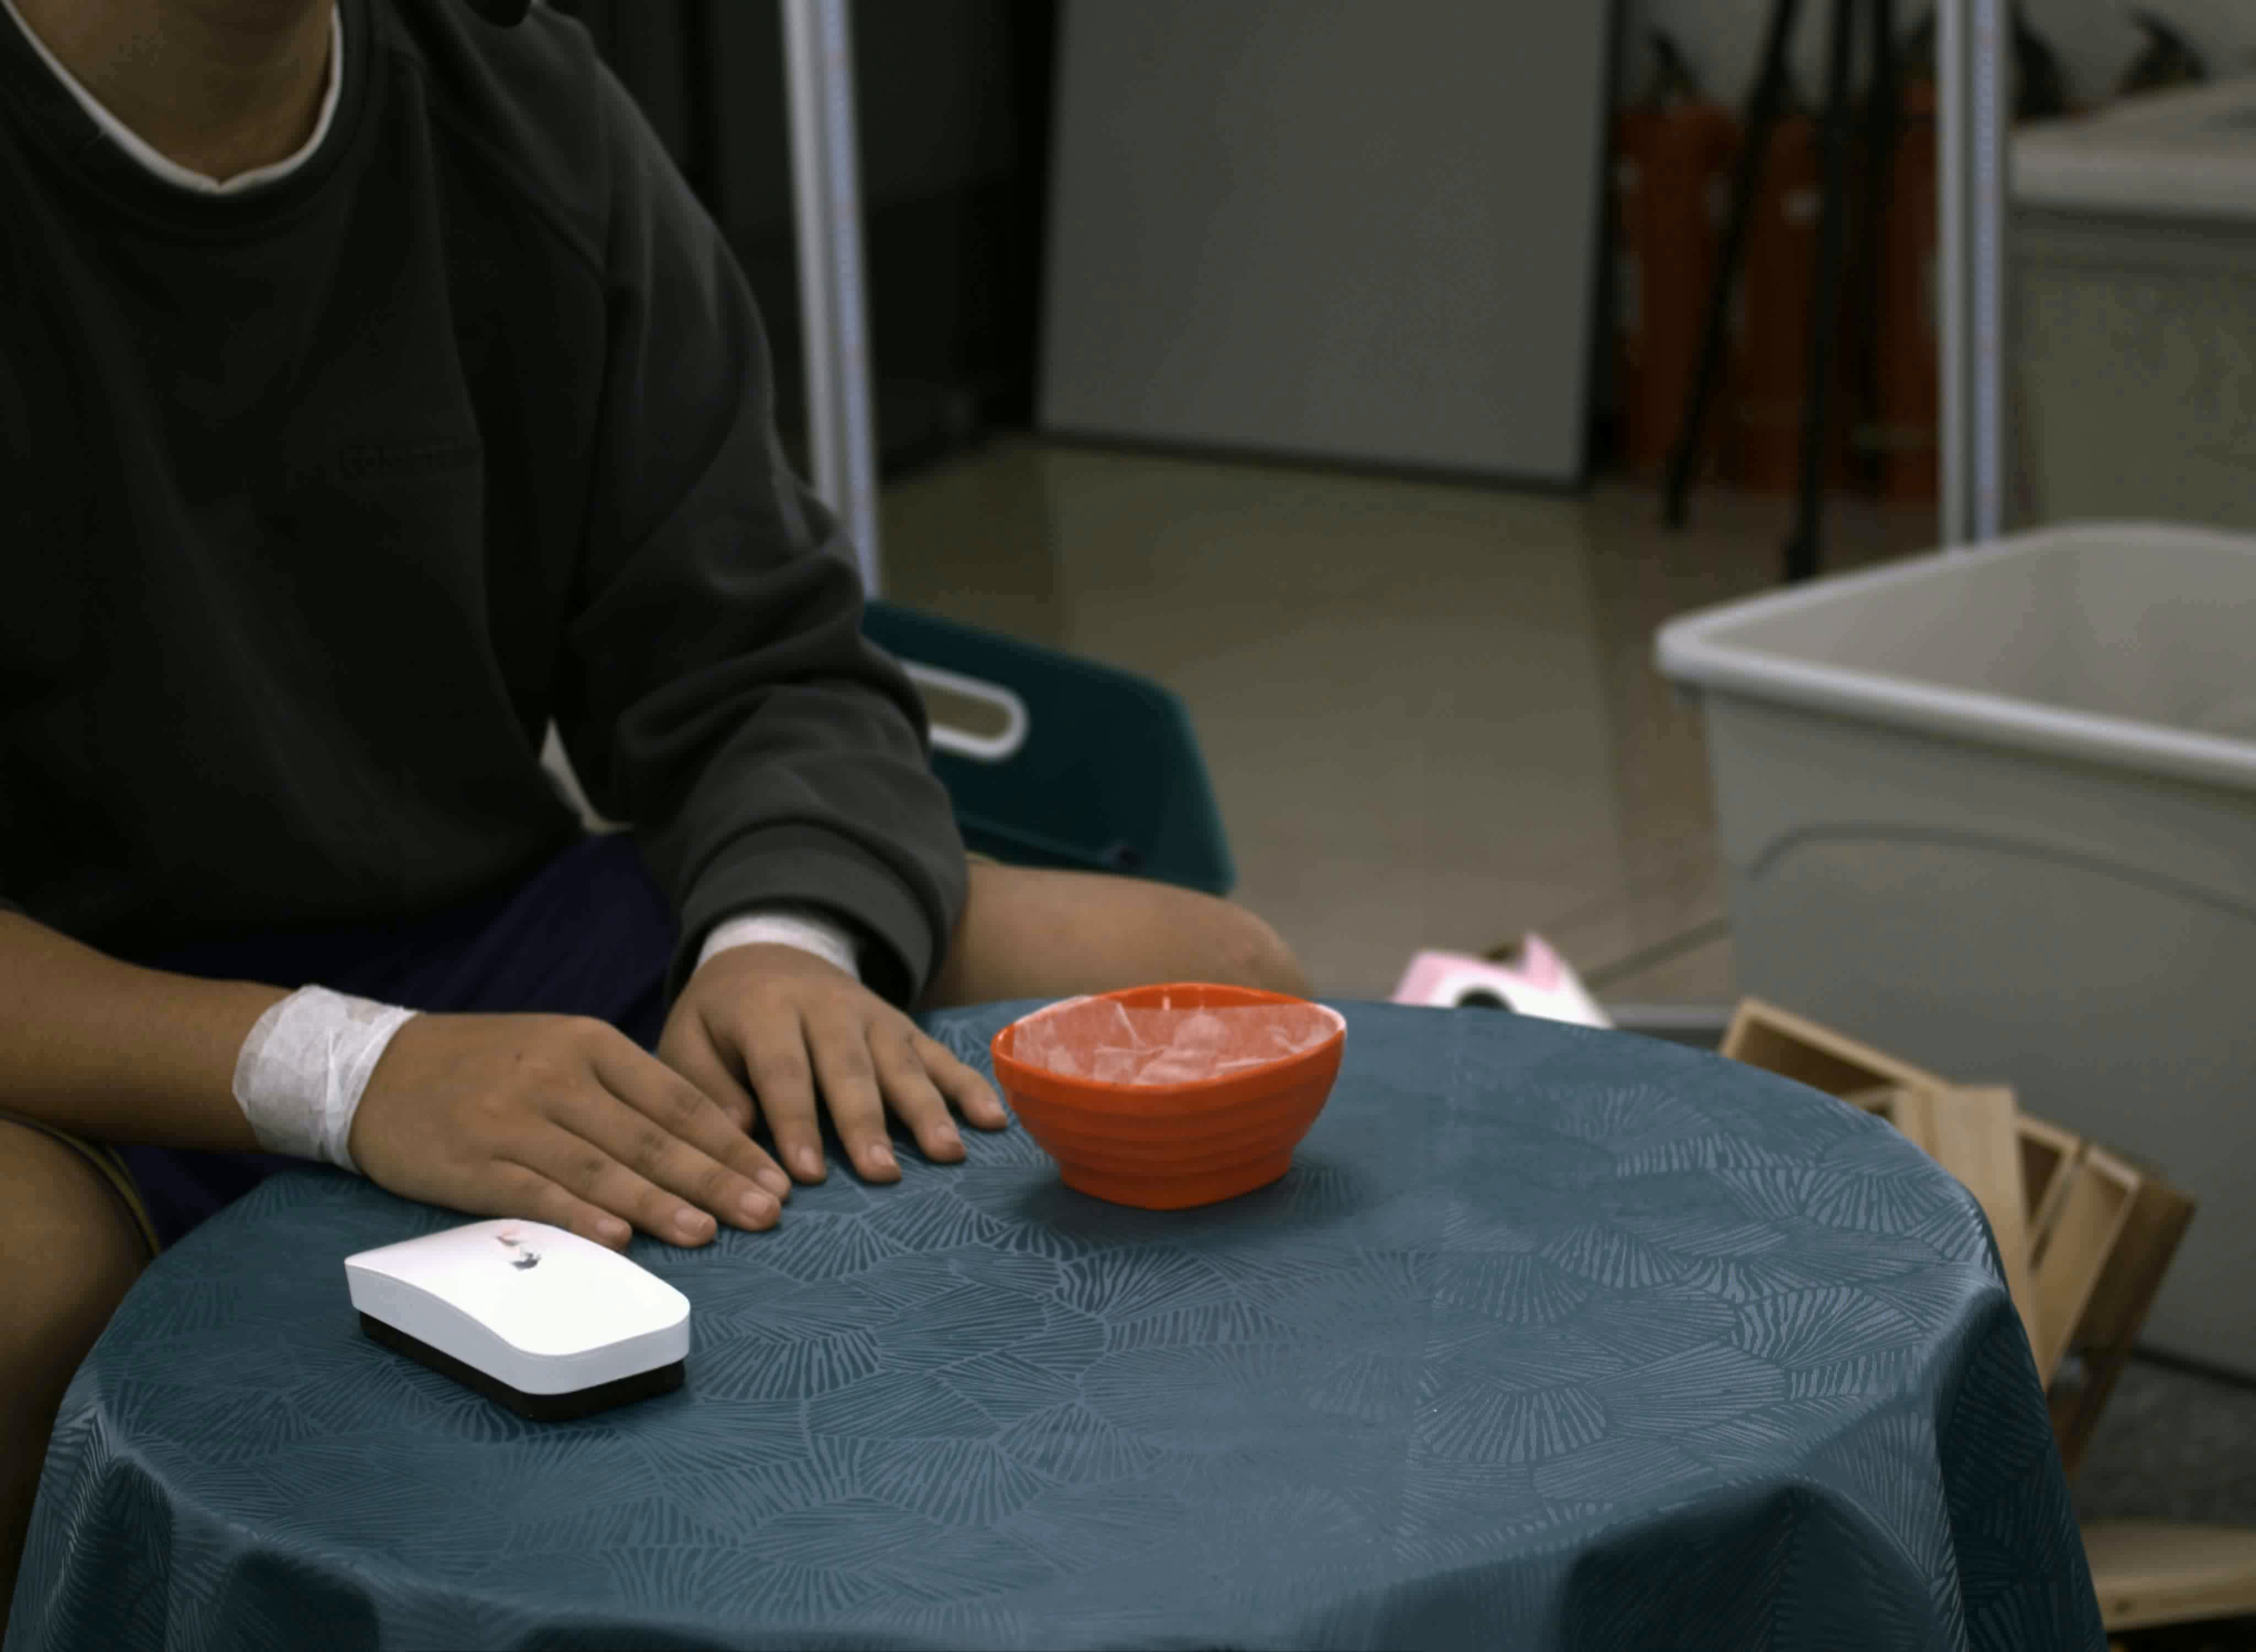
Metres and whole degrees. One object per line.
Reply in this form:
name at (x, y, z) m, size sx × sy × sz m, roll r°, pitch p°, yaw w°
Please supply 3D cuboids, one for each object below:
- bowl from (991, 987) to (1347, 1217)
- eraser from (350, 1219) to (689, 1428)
bowl at (0.015, 0.093, 1.775) m, size 0.117 × 0.052 × 0.119 m, roll -5°, pitch 14°, yaw 0°
eraser at (-0.184, 0.147, 1.647) m, size 0.062 × 0.035 × 0.133 m, roll -11°, pitch 17°, yaw -31°
